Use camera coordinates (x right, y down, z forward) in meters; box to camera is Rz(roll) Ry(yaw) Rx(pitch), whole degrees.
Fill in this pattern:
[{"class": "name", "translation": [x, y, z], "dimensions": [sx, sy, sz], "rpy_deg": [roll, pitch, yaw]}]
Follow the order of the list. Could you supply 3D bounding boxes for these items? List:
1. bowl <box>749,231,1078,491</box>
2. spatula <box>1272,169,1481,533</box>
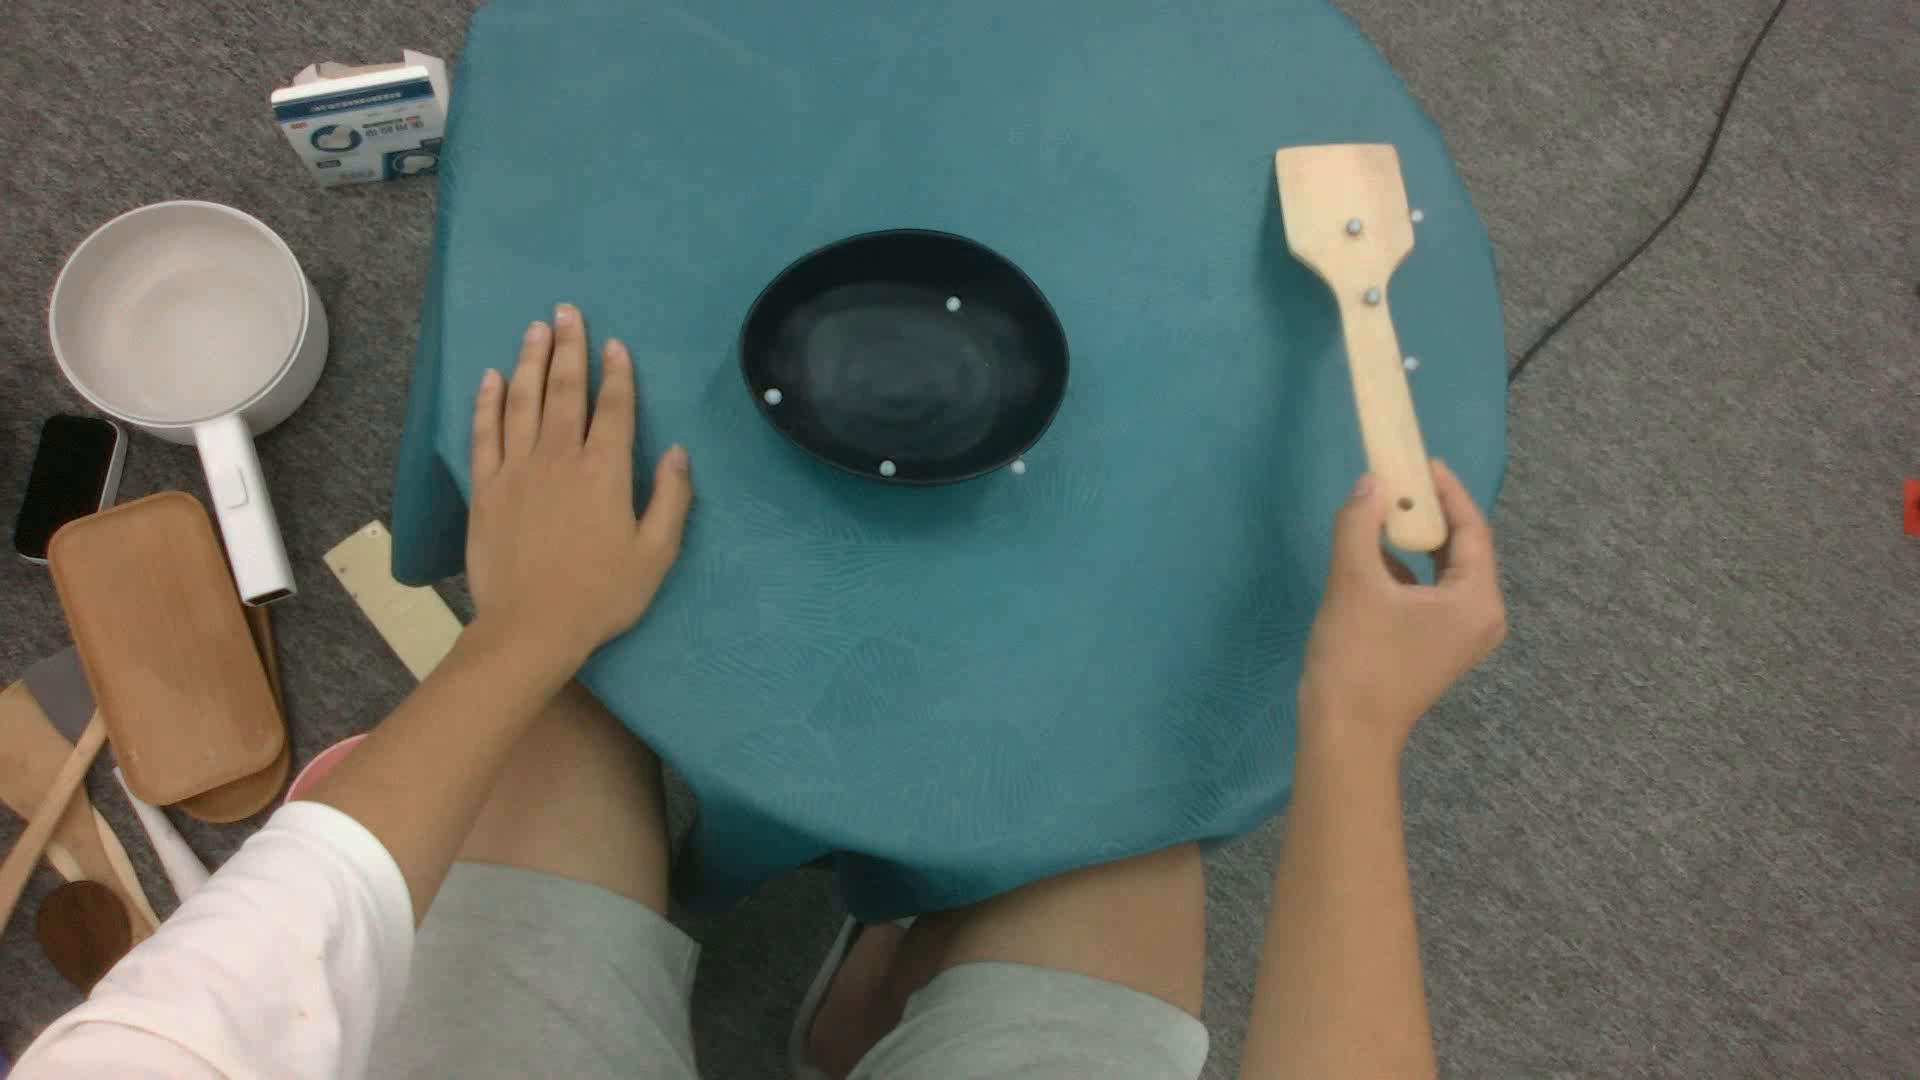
[{"class": "bowl", "translation": [-0.026, -0.088, 0.732], "dimensions": [0.170, 0.066, 0.137], "rpy_deg": [1, 78, -6]}, {"class": "spatula", "translation": [0.224, -0.111, 0.725], "dimensions": [0.072, 0.010, 0.294], "rpy_deg": [-2, 47, 1]}]
